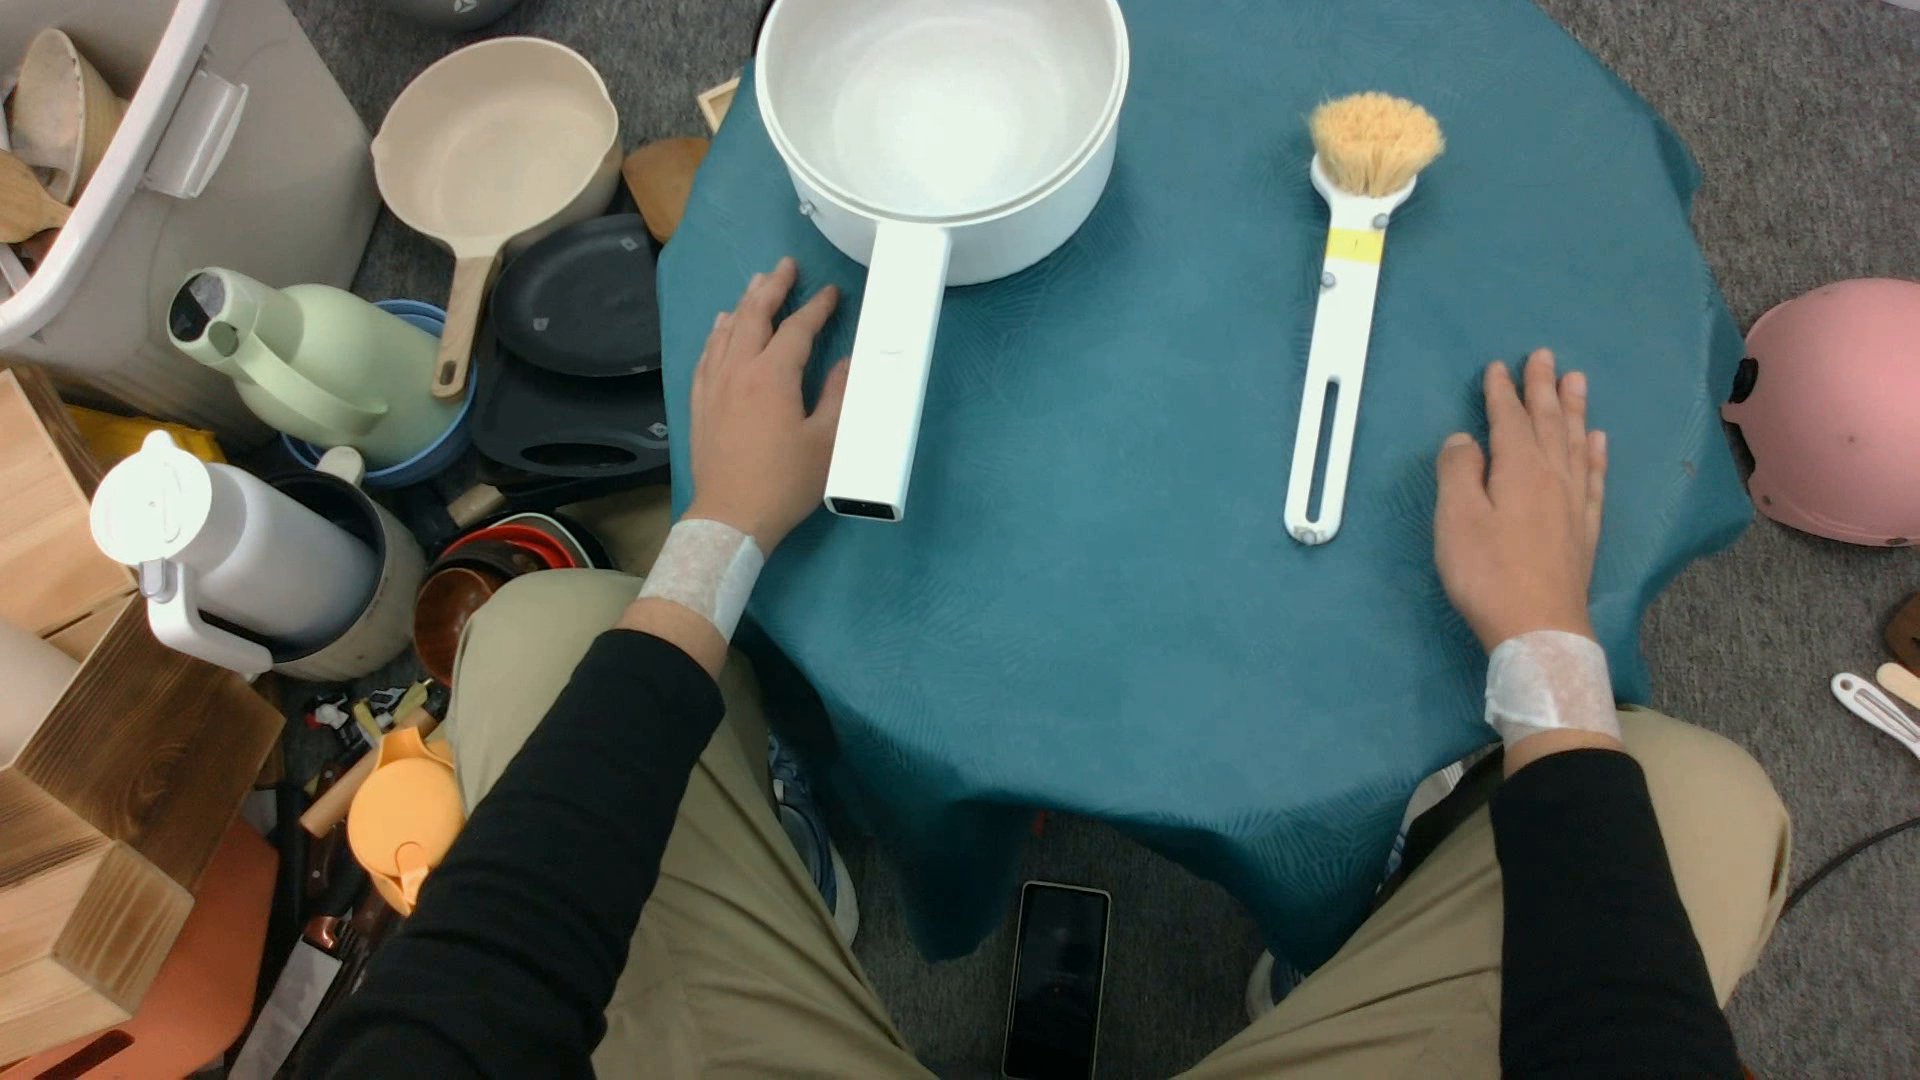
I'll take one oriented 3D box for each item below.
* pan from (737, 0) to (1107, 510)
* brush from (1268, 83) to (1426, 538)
[{"bbox_3d":[-0.031,-0.180,0.766,0.201,0.102,0.355,8,74,4],"label":"pan"},{"bbox_3d":[0.207,-0.134,0.761,0.068,0.056,0.267,10,75,11],"label":"brush"}]
